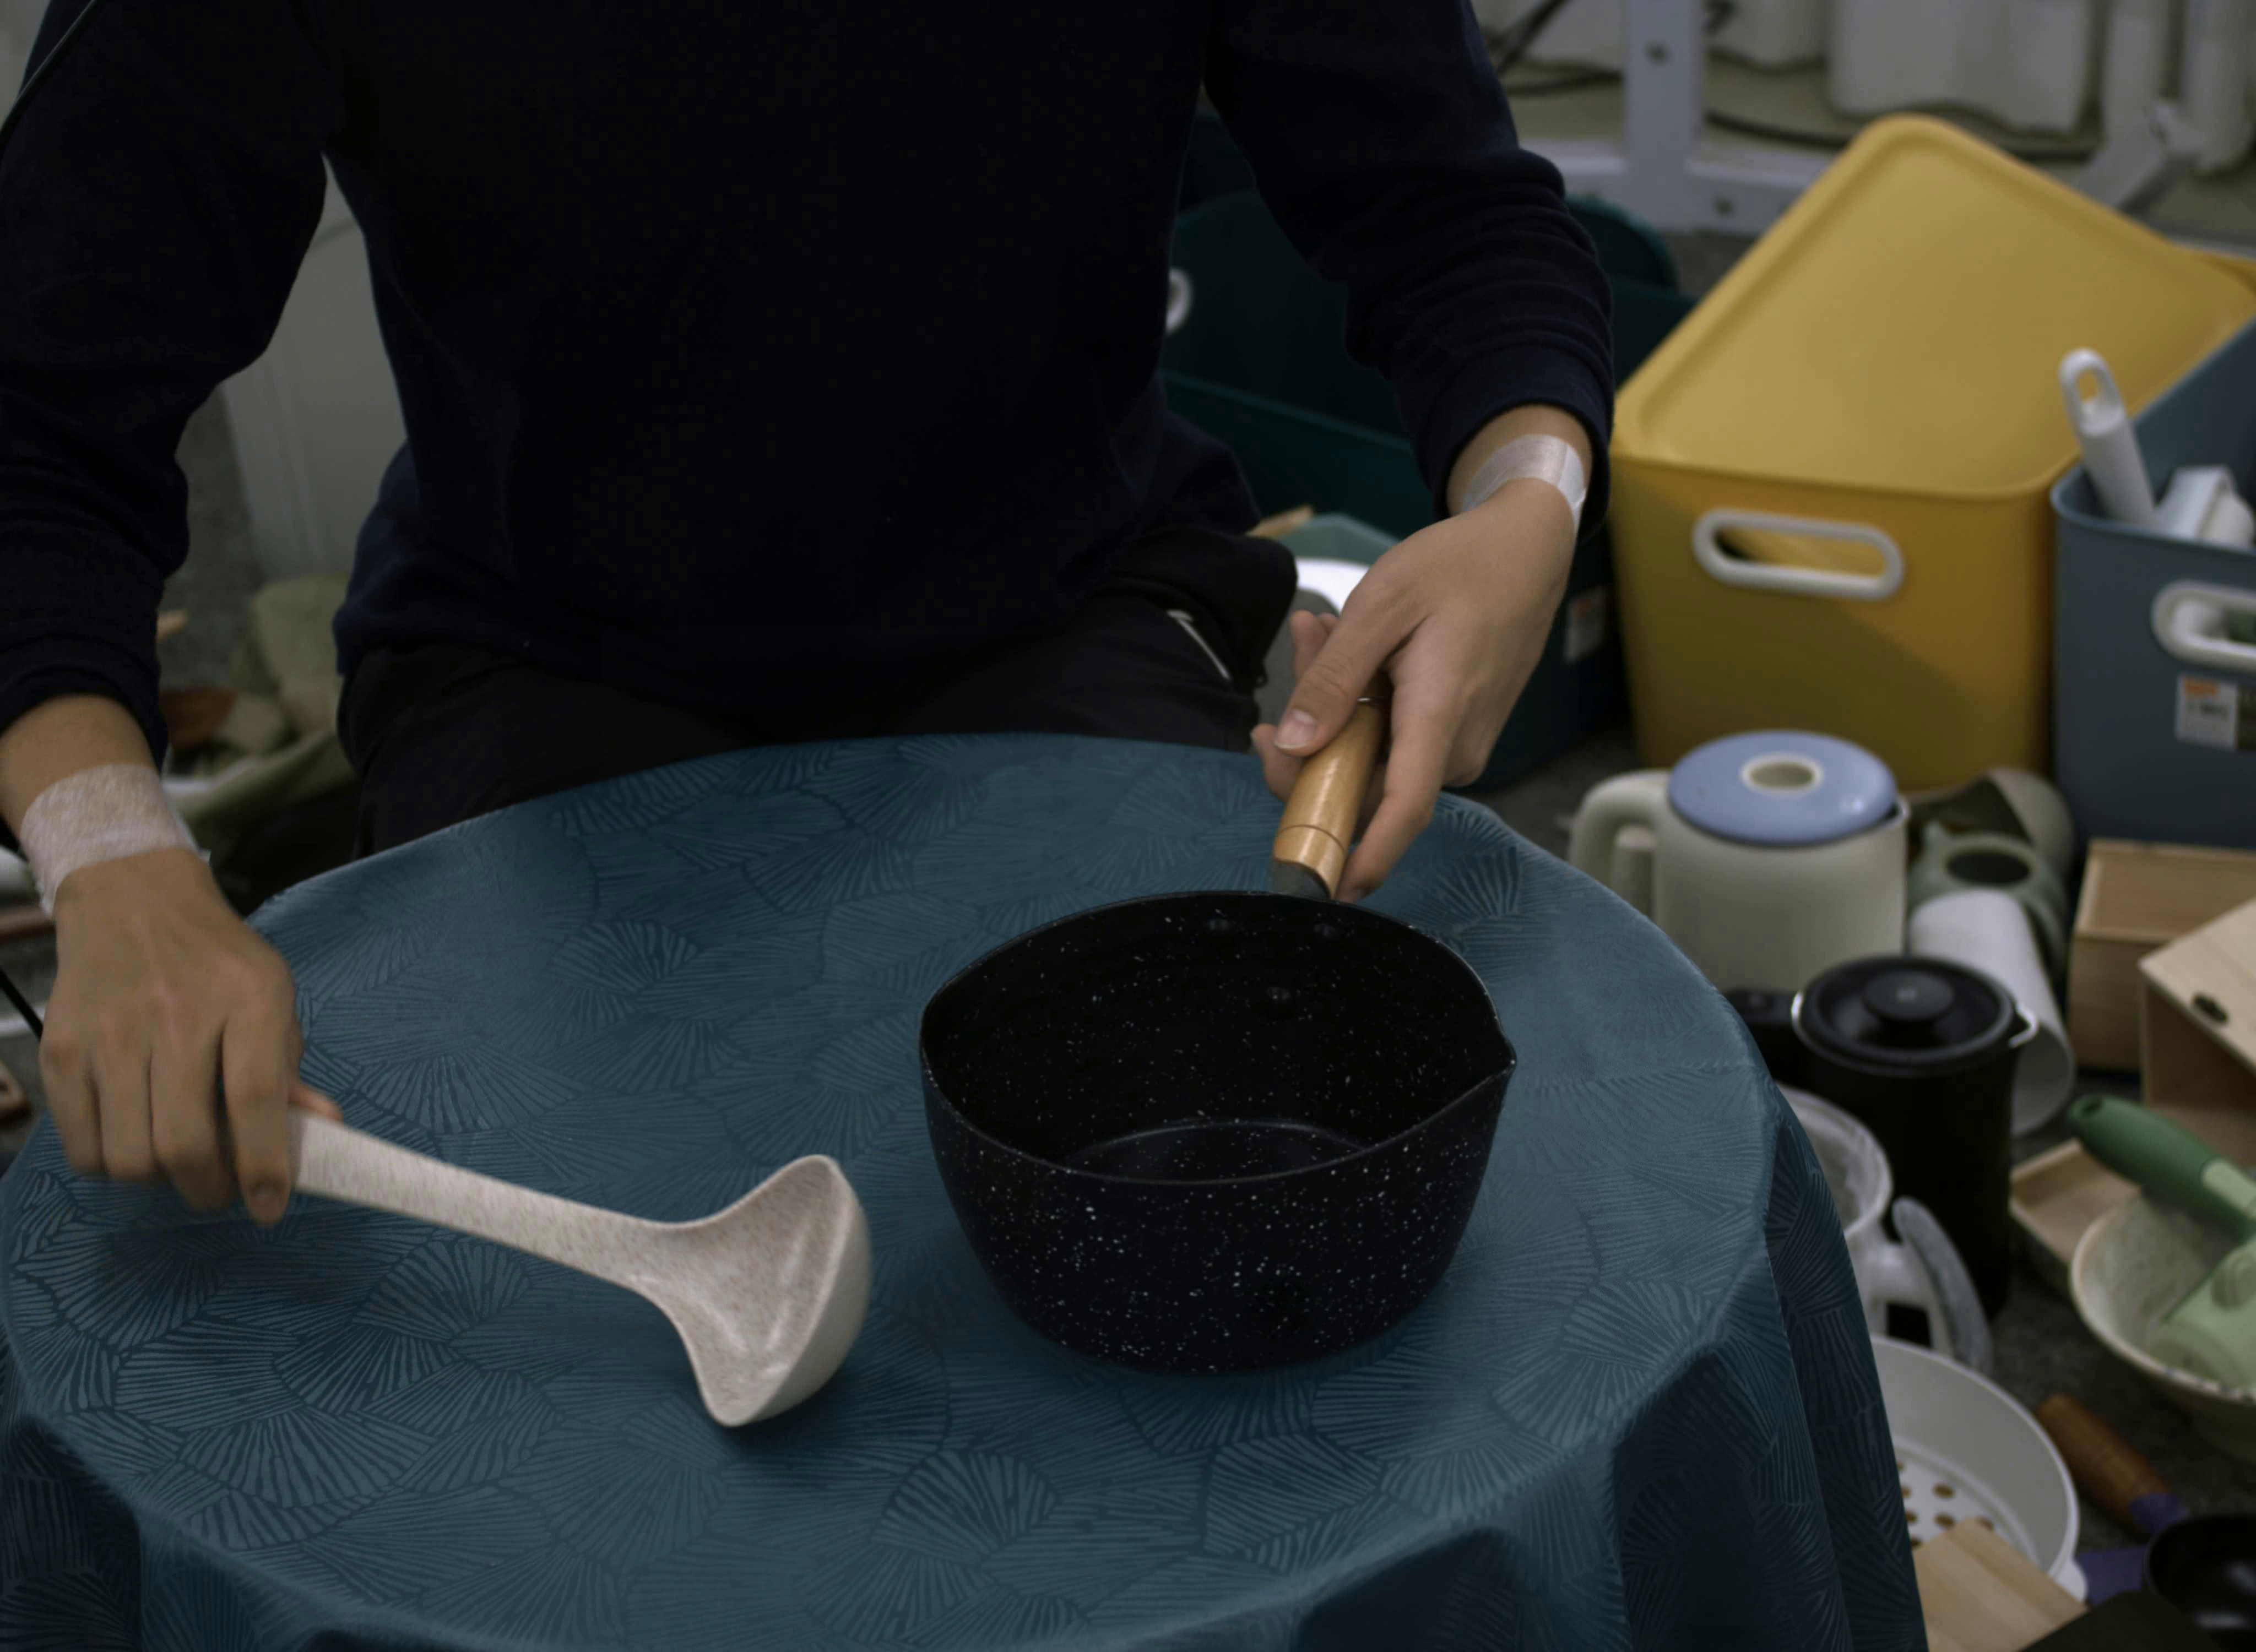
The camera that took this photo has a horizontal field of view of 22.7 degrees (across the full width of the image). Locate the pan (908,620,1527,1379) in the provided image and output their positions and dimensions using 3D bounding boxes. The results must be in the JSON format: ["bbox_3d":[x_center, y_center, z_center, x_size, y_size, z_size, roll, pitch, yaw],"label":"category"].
[{"bbox_3d":[0.047,0.054,1.872,0.206,0.107,0.349,3,29,14],"label":"pan"}]

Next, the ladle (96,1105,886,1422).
[{"bbox_3d":[-0.208,0.120,1.773,0.273,0.090,0.069,13,-16,11],"label":"ladle"}]
